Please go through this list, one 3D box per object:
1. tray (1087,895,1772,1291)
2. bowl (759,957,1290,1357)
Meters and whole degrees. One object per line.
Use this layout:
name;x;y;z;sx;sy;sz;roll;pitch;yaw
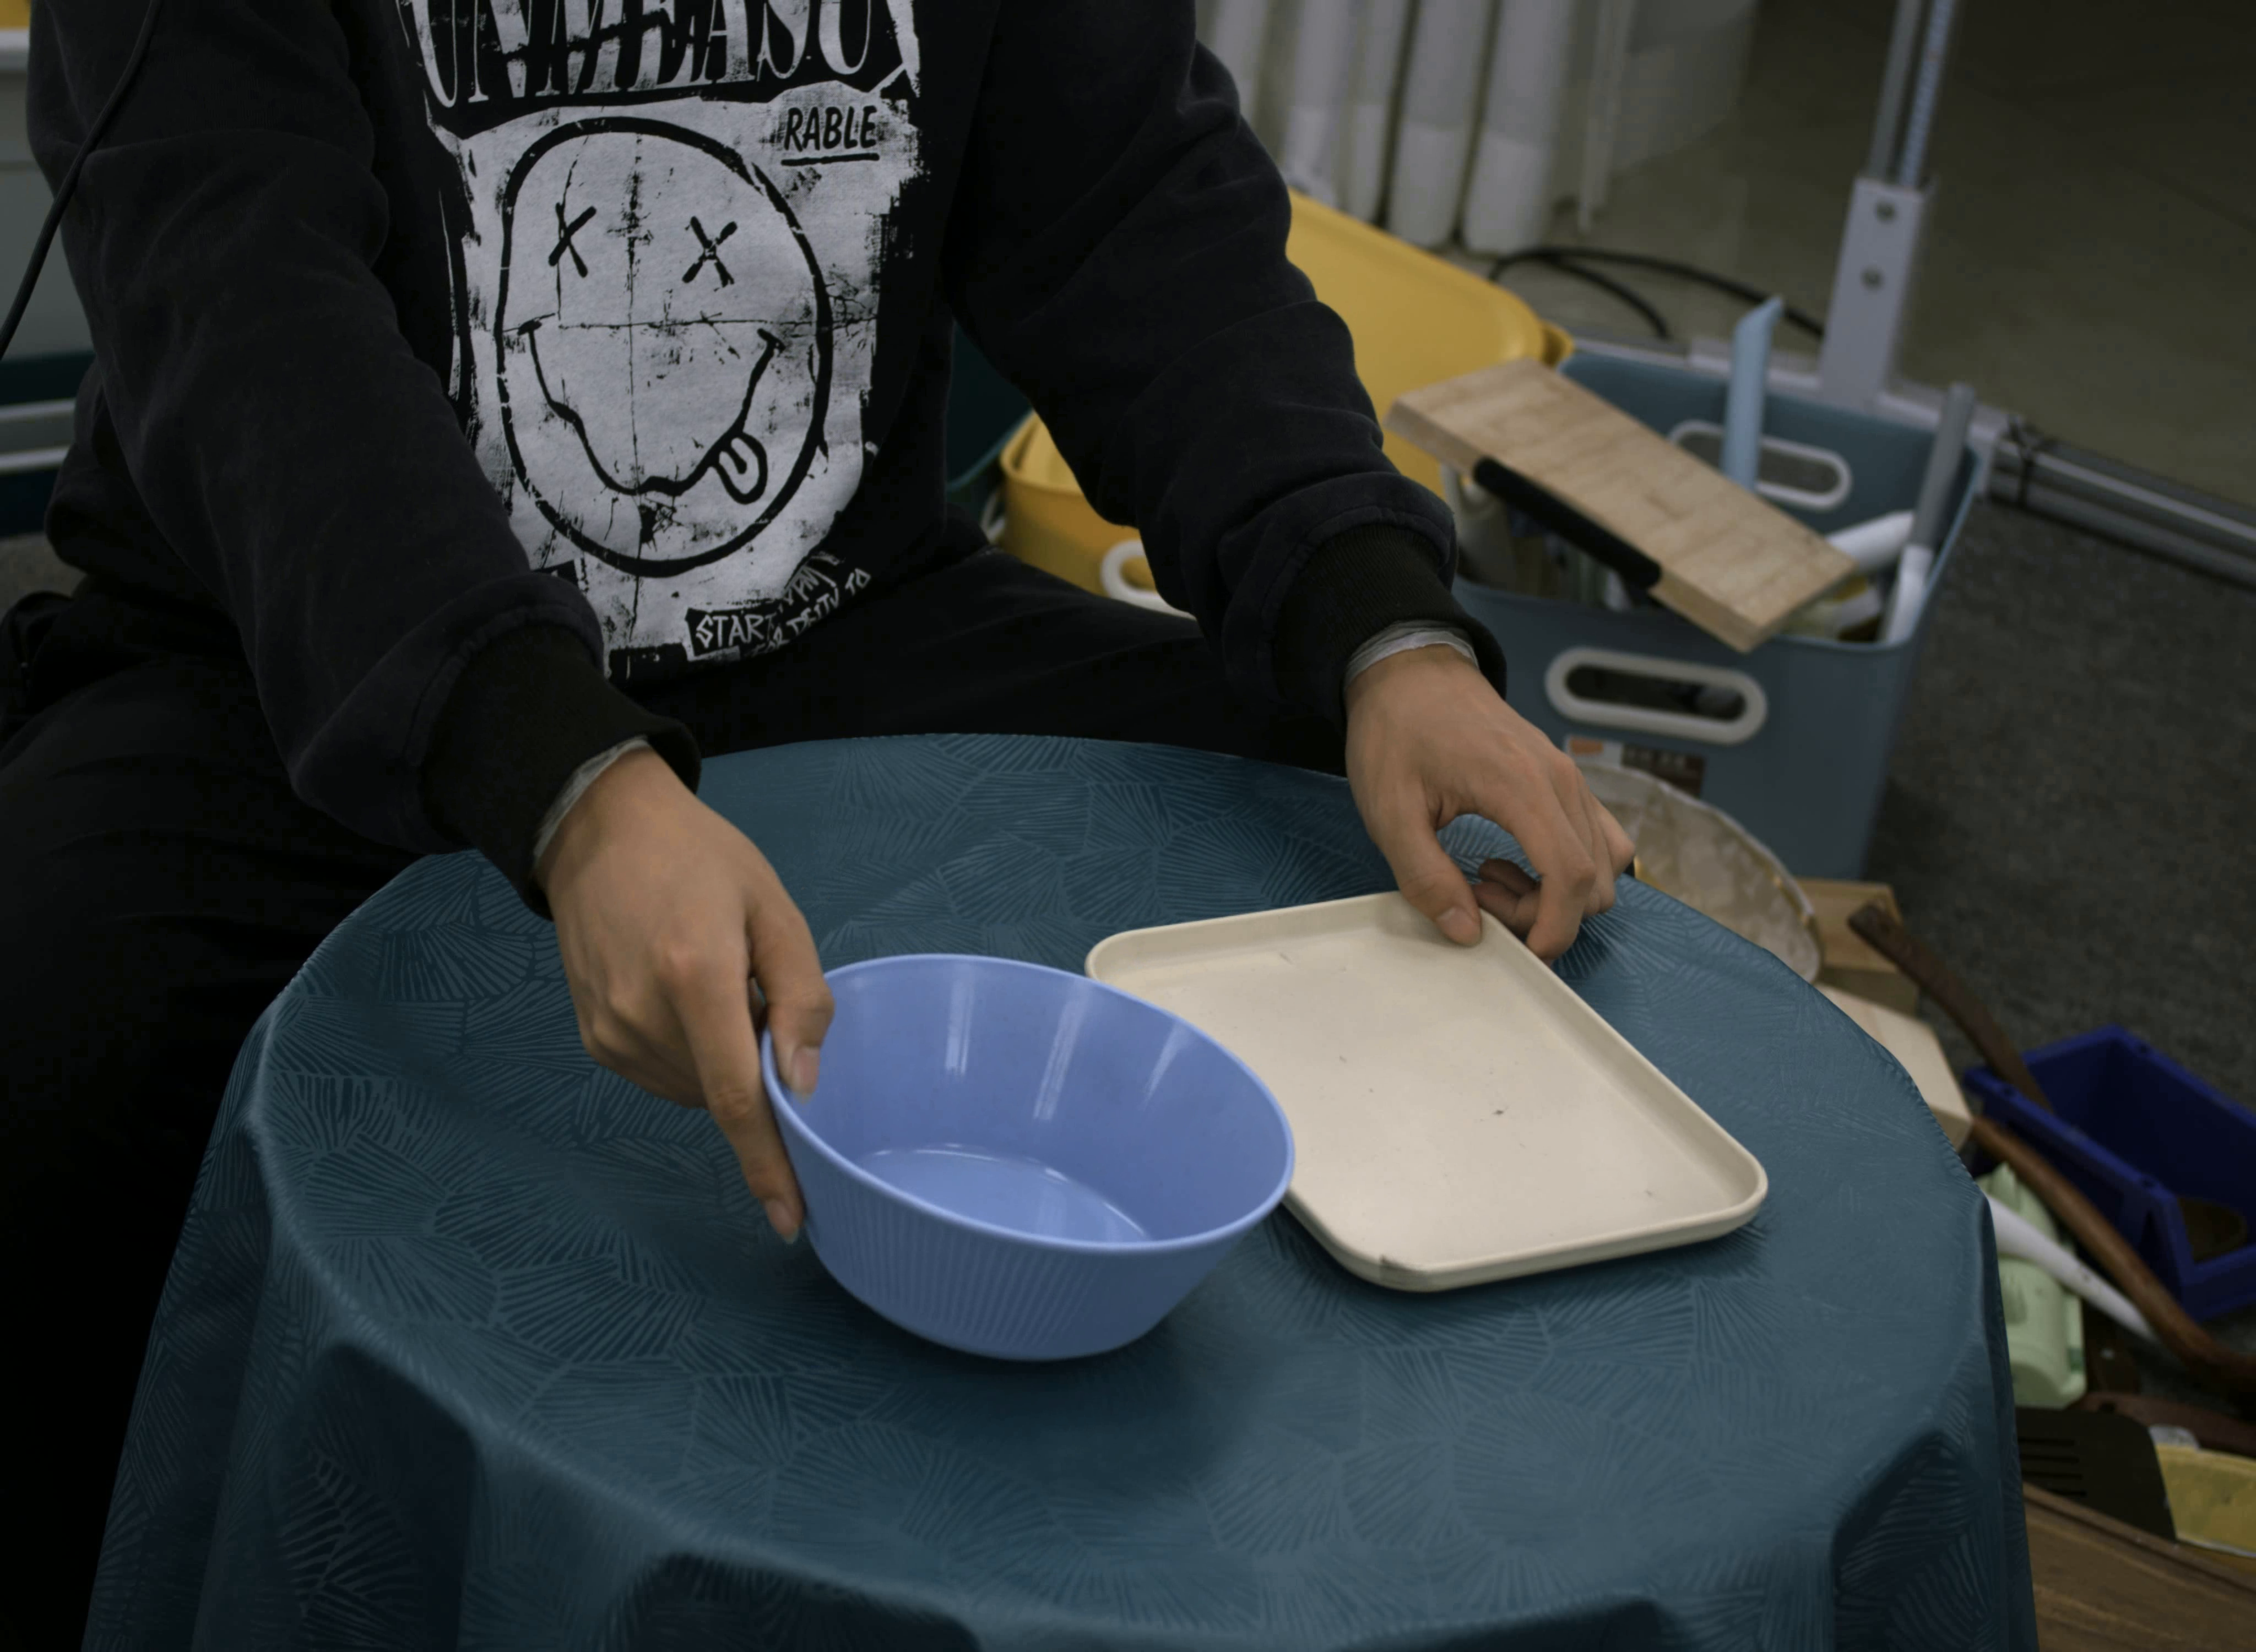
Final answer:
tray;0.102;0.092;1.866;0.170;0.017;0.242;-7;30;-26
bowl;-0.040;0.113;1.718;0.175;0.070;0.177;12;26;-6
